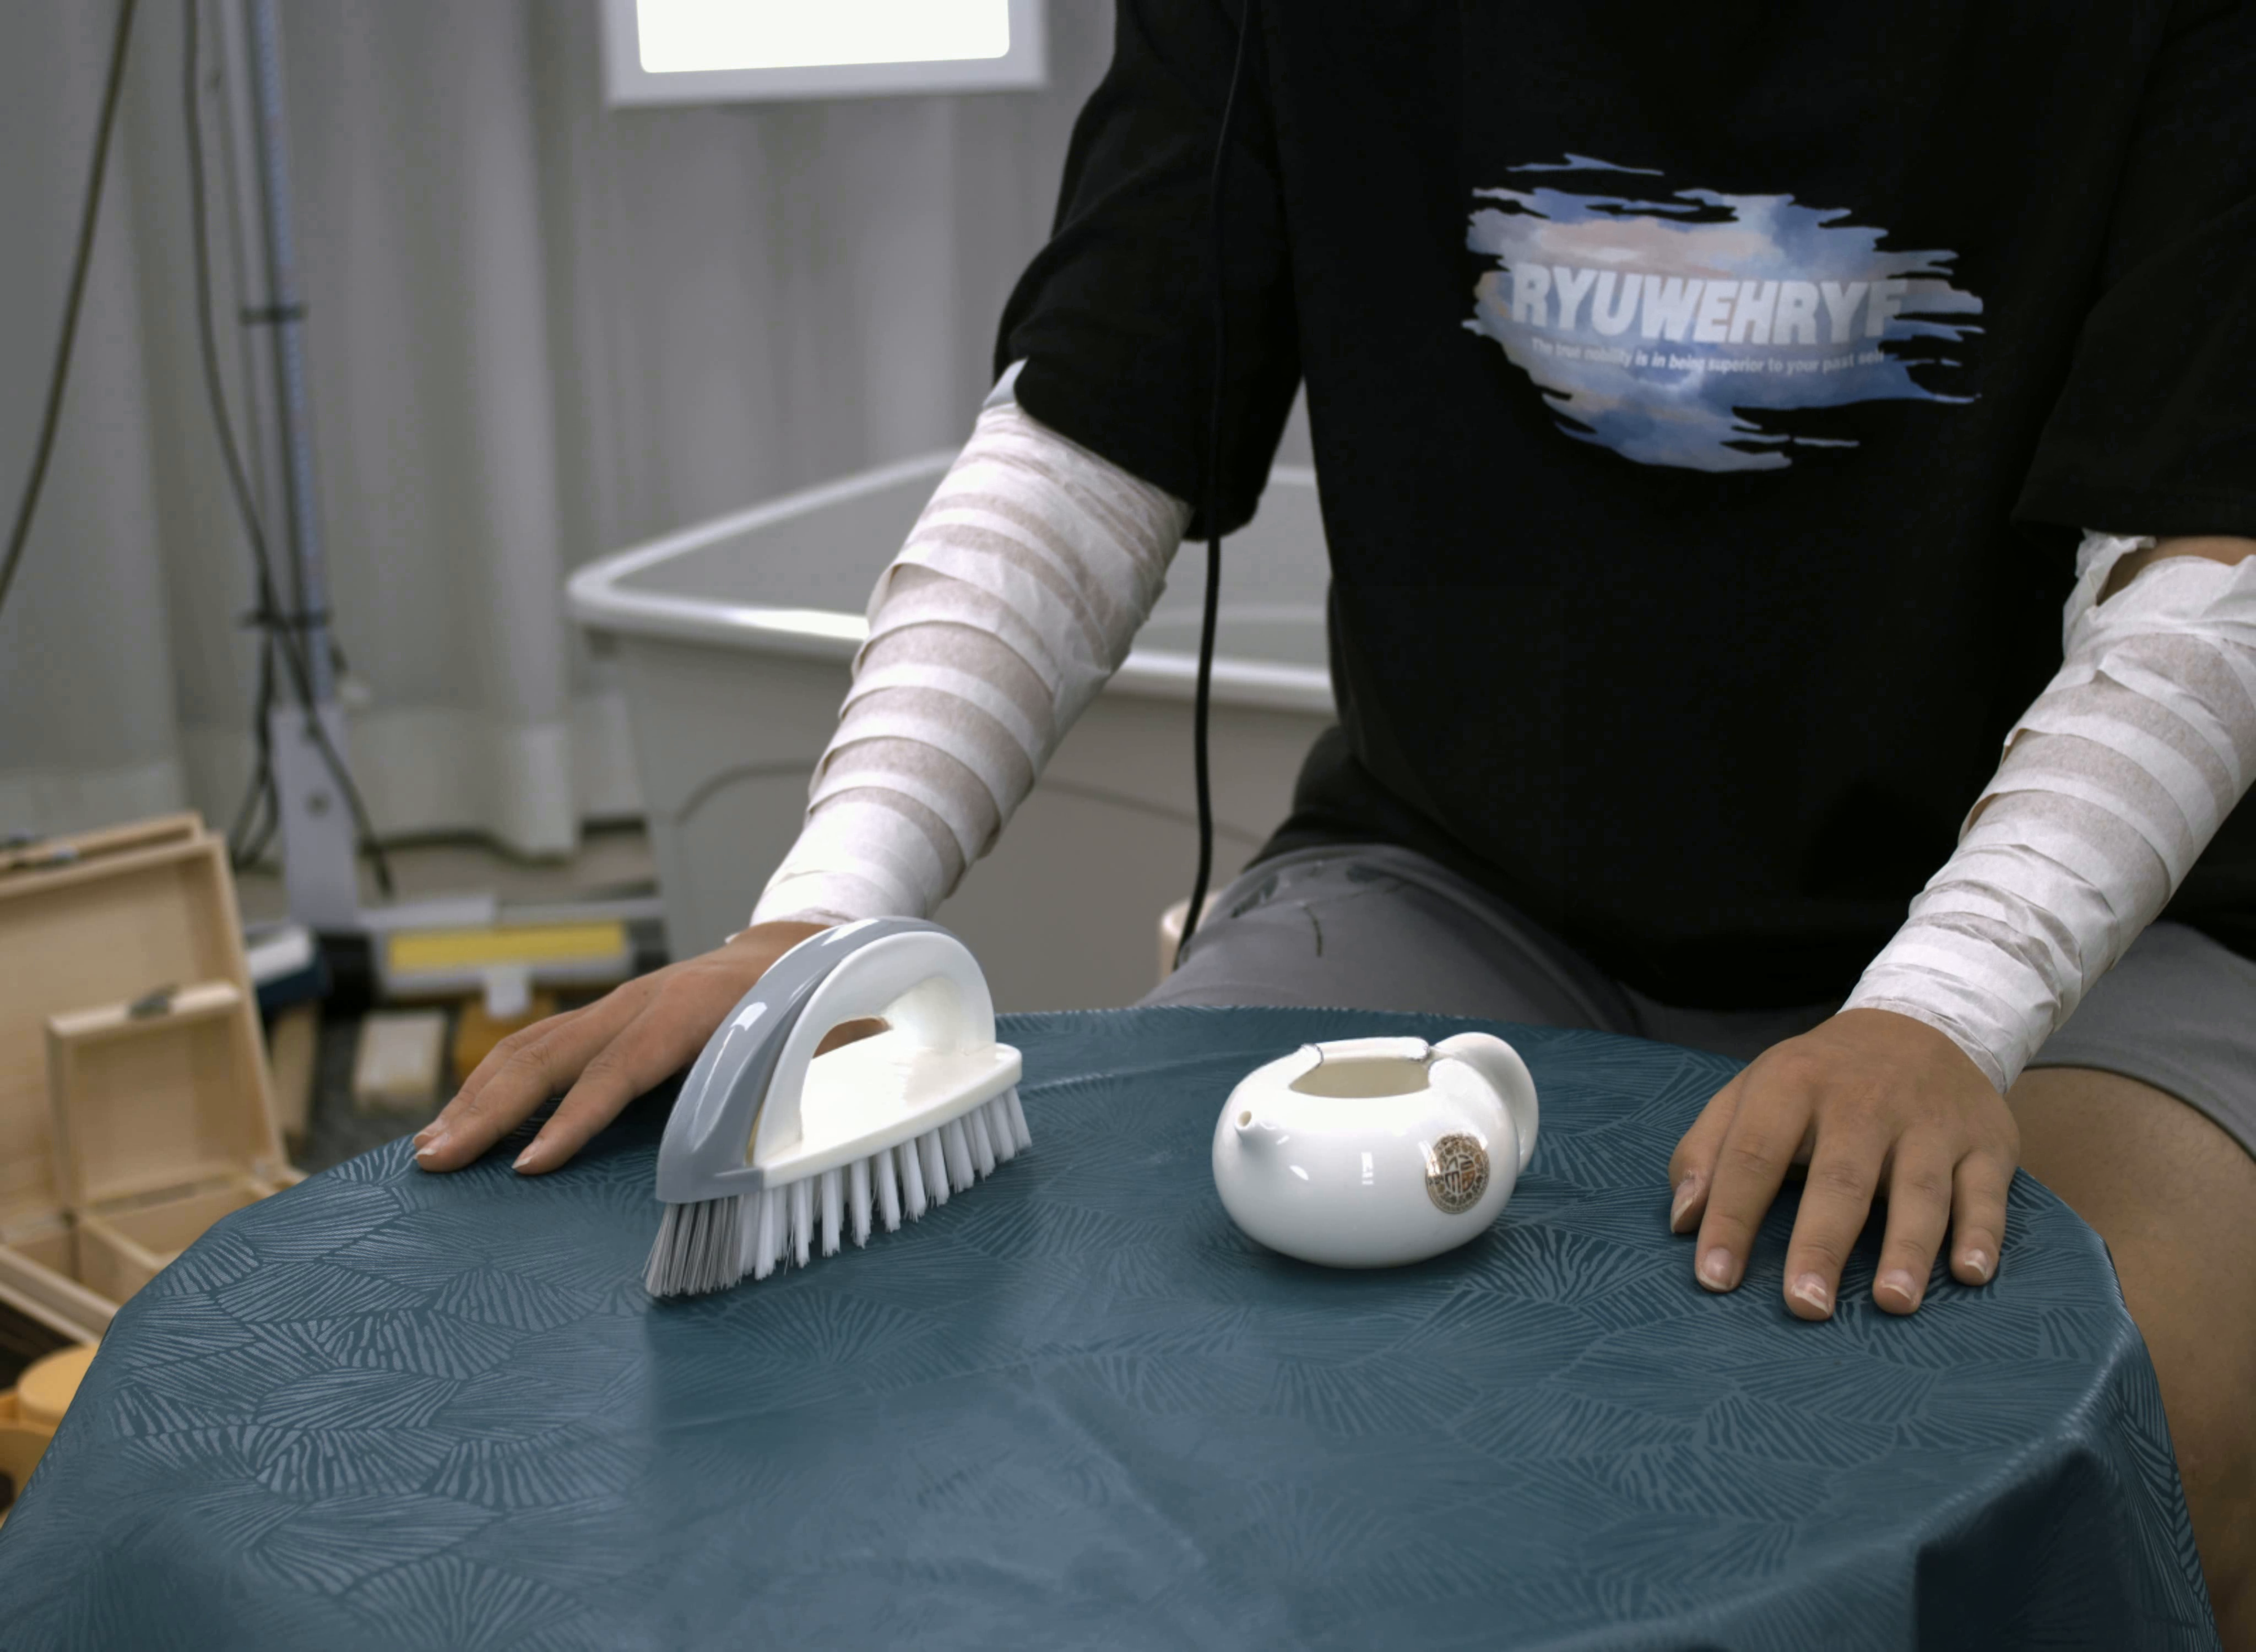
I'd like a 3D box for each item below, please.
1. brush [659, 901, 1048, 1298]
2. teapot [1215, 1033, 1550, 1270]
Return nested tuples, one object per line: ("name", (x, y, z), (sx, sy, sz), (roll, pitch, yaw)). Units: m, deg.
("brush", (-0.093, 0.079, 1.687), (0.061, 0.094, 0.176), (3, 16, 32))
("teapot", (0.080, 0.097, 1.657), (0.127, 0.056, 0.094), (-15, 15, -42))
